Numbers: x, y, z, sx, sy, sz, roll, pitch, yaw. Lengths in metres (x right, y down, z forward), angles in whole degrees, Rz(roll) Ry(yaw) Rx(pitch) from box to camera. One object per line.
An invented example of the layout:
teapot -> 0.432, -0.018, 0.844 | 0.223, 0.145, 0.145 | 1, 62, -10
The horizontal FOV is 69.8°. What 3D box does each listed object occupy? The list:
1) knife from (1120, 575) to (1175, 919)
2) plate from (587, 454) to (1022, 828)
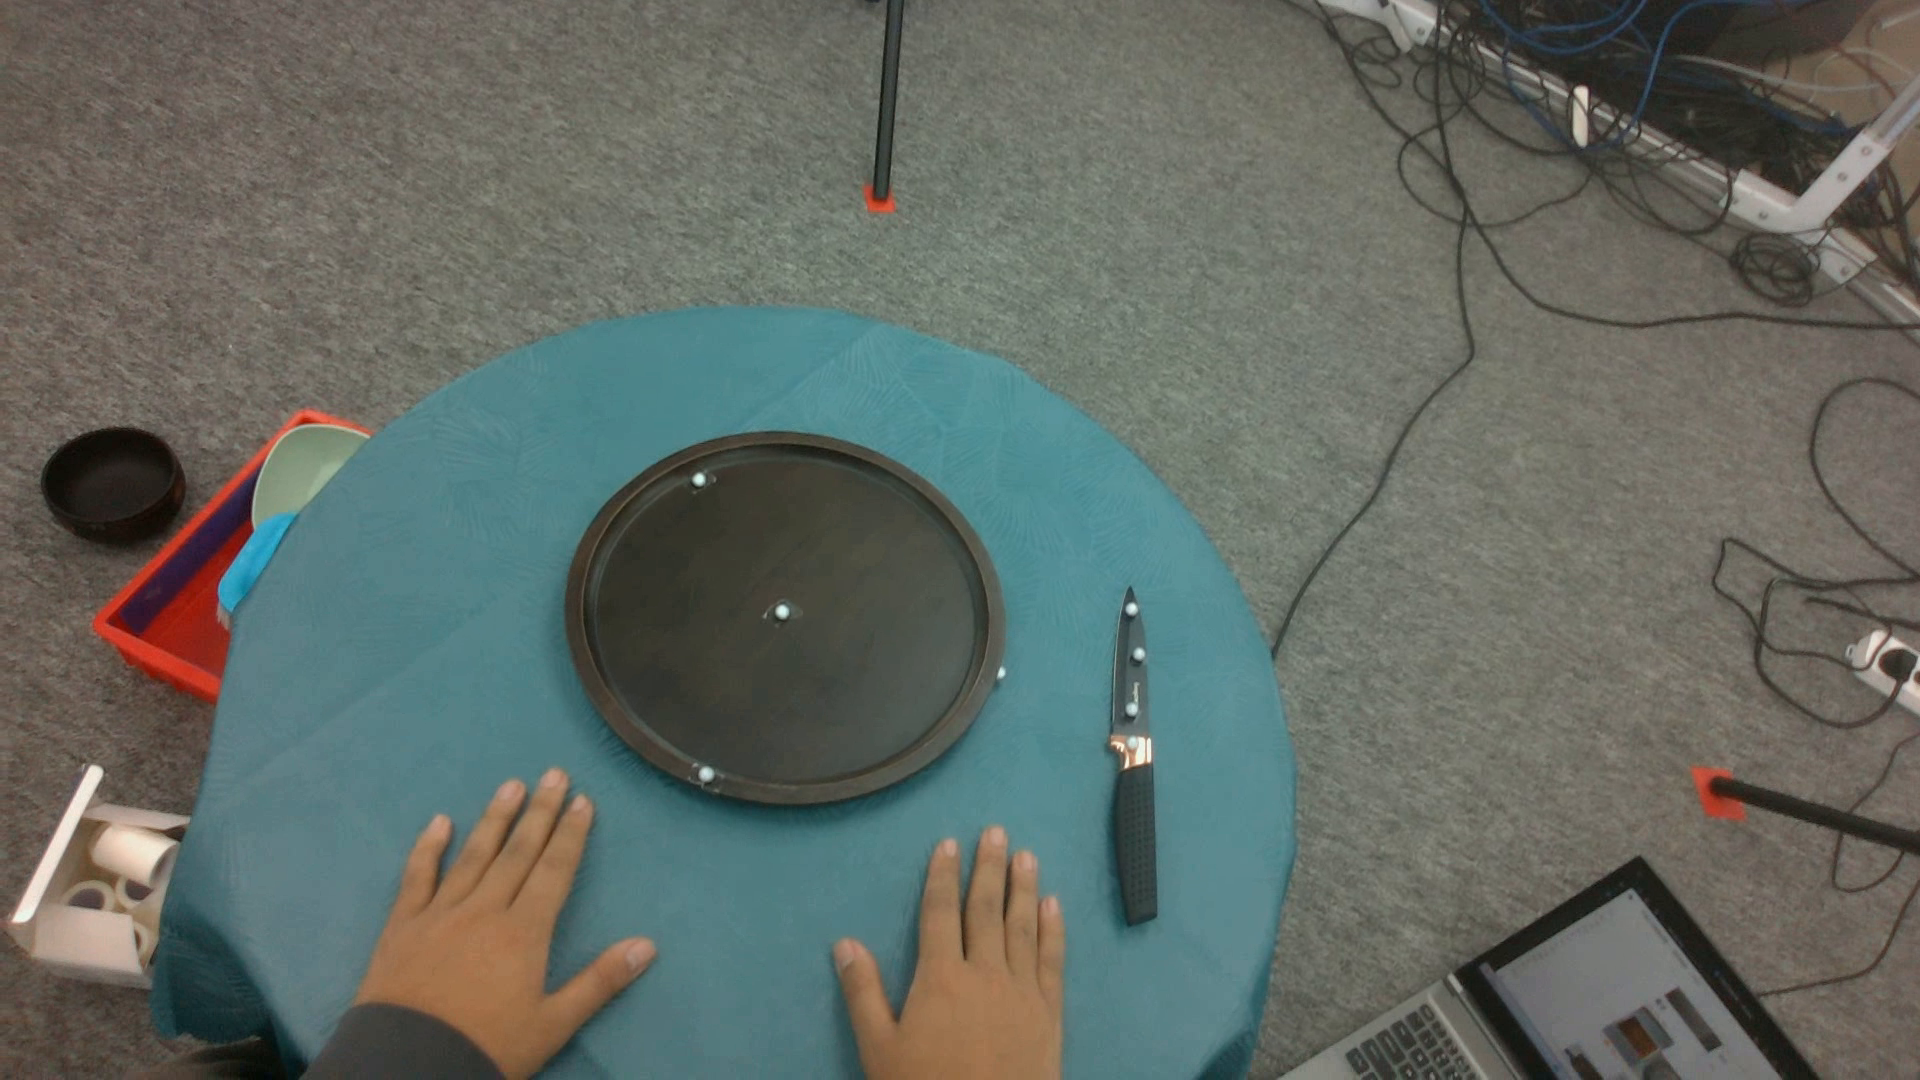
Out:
knife -> 0.110, 0.114, 0.815 | 0.026, 0.017, 0.226 | 4, 54, -3
plate -> -0.089, 0.053, 0.814 | 0.255, 0.029, 0.256 | 6, 55, -8
